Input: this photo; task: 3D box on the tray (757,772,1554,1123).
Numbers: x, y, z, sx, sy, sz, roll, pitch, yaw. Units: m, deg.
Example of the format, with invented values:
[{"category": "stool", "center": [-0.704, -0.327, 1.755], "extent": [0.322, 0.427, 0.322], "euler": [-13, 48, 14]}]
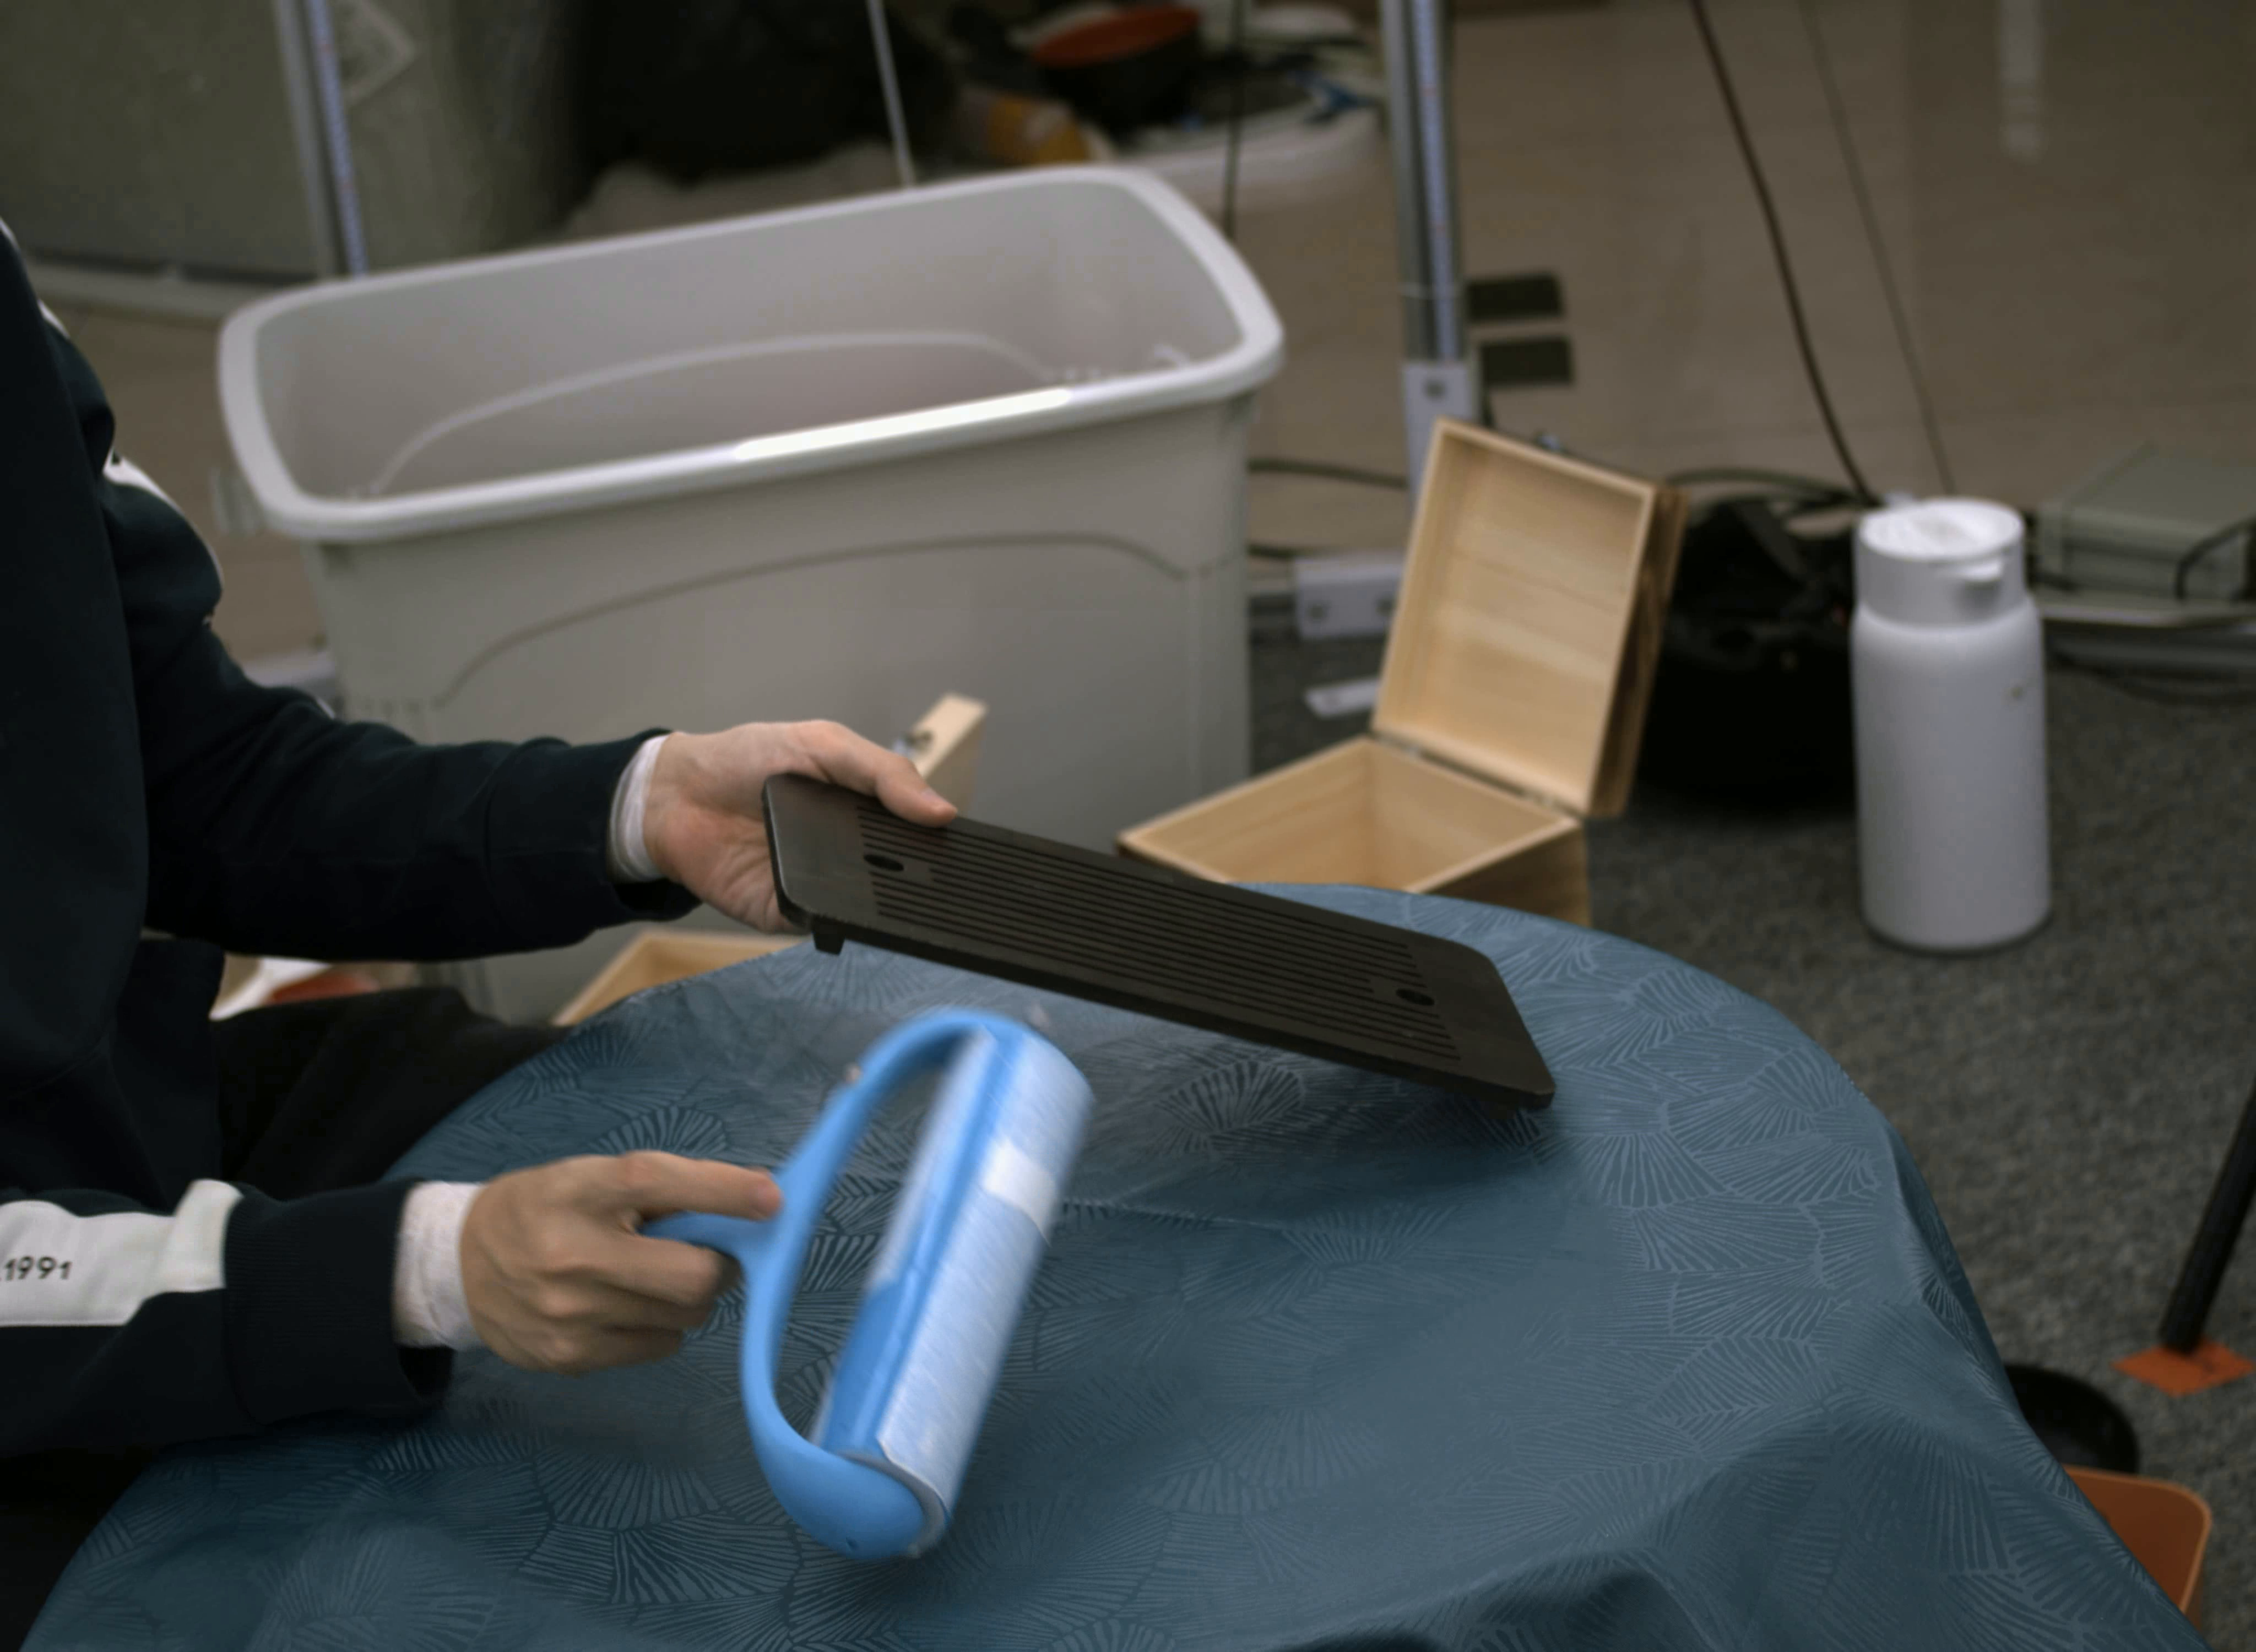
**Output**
[{"category": "tray", "center": [0.007, 0.047, 2.176], "extent": [0.306, 0.019, 0.168], "euler": [14, 17, -11]}]

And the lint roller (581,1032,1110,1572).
[{"category": "lint roller", "center": [-0.114, 0.162, 1.967], "extent": [0.180, 0.069, 0.225], "euler": [1, 45, 17]}]
